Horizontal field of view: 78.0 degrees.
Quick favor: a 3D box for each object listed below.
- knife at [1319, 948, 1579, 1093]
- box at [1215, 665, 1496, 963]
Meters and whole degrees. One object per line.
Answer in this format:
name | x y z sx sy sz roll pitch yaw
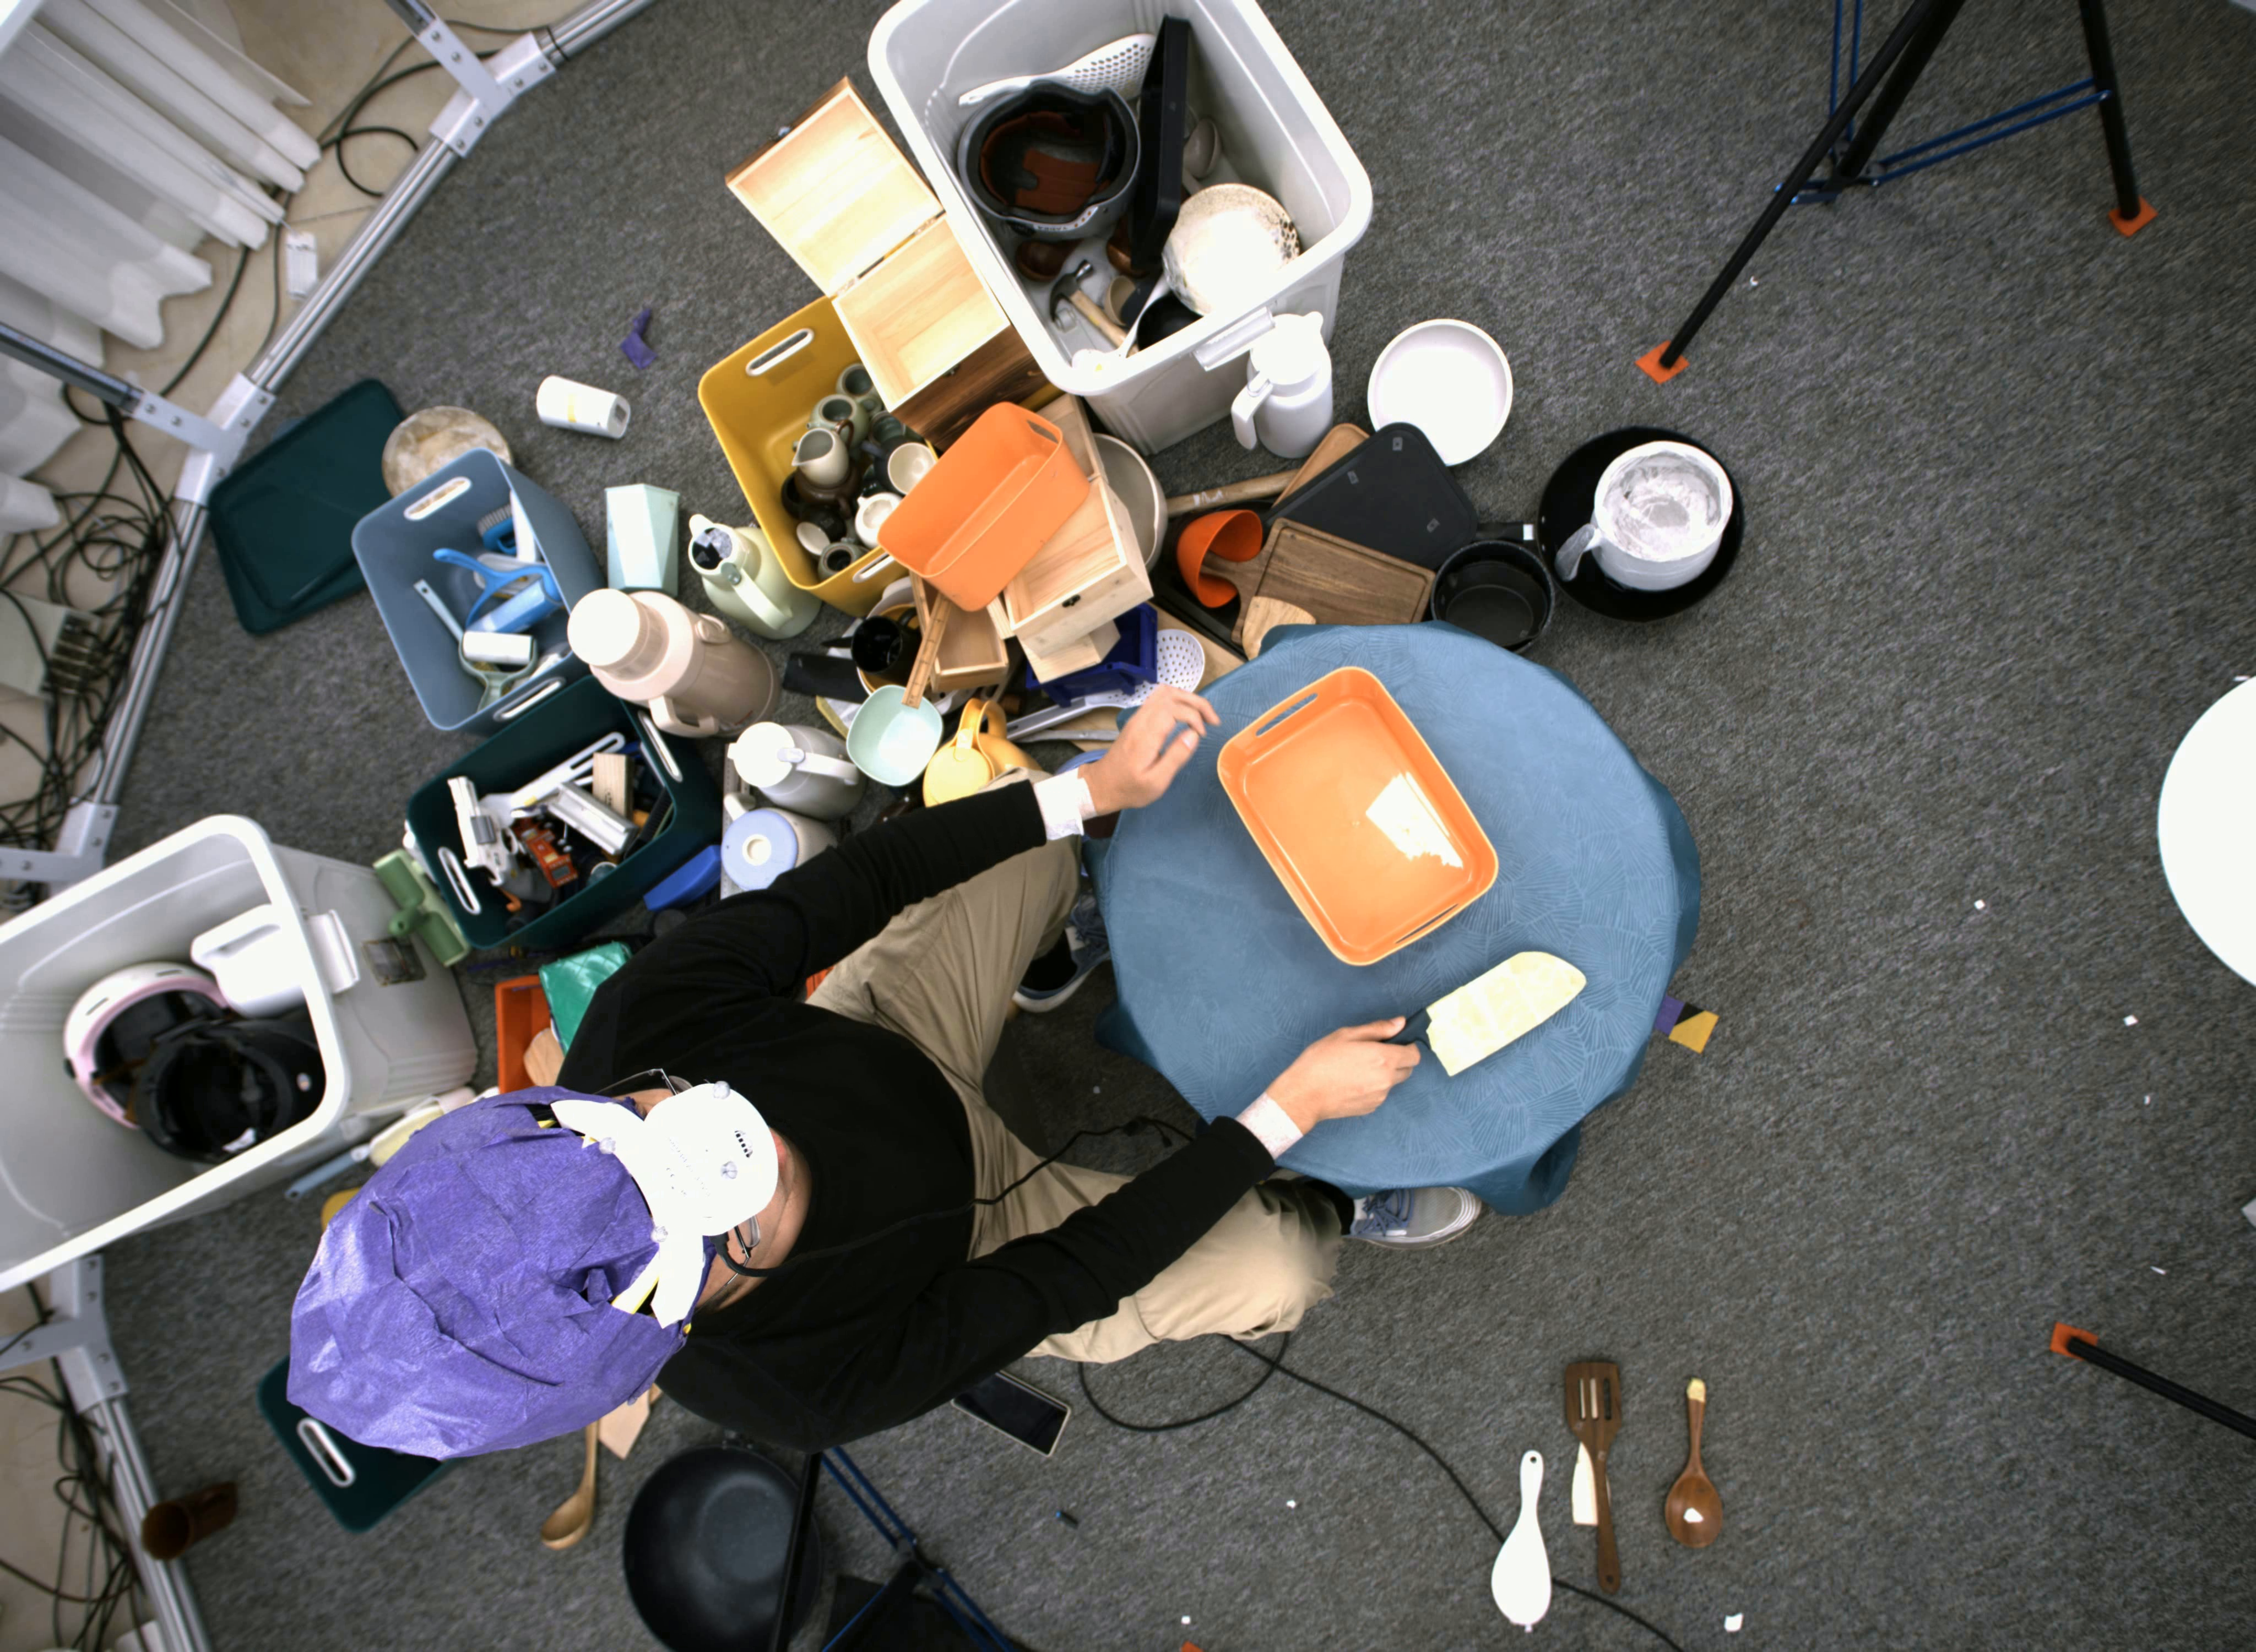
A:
knife | 0.330 0.206 1.406 0.290 0.027 0.080 -28 83 4
box | 0.231 -0.008 1.419 0.200 0.102 0.271 -34 81 6
